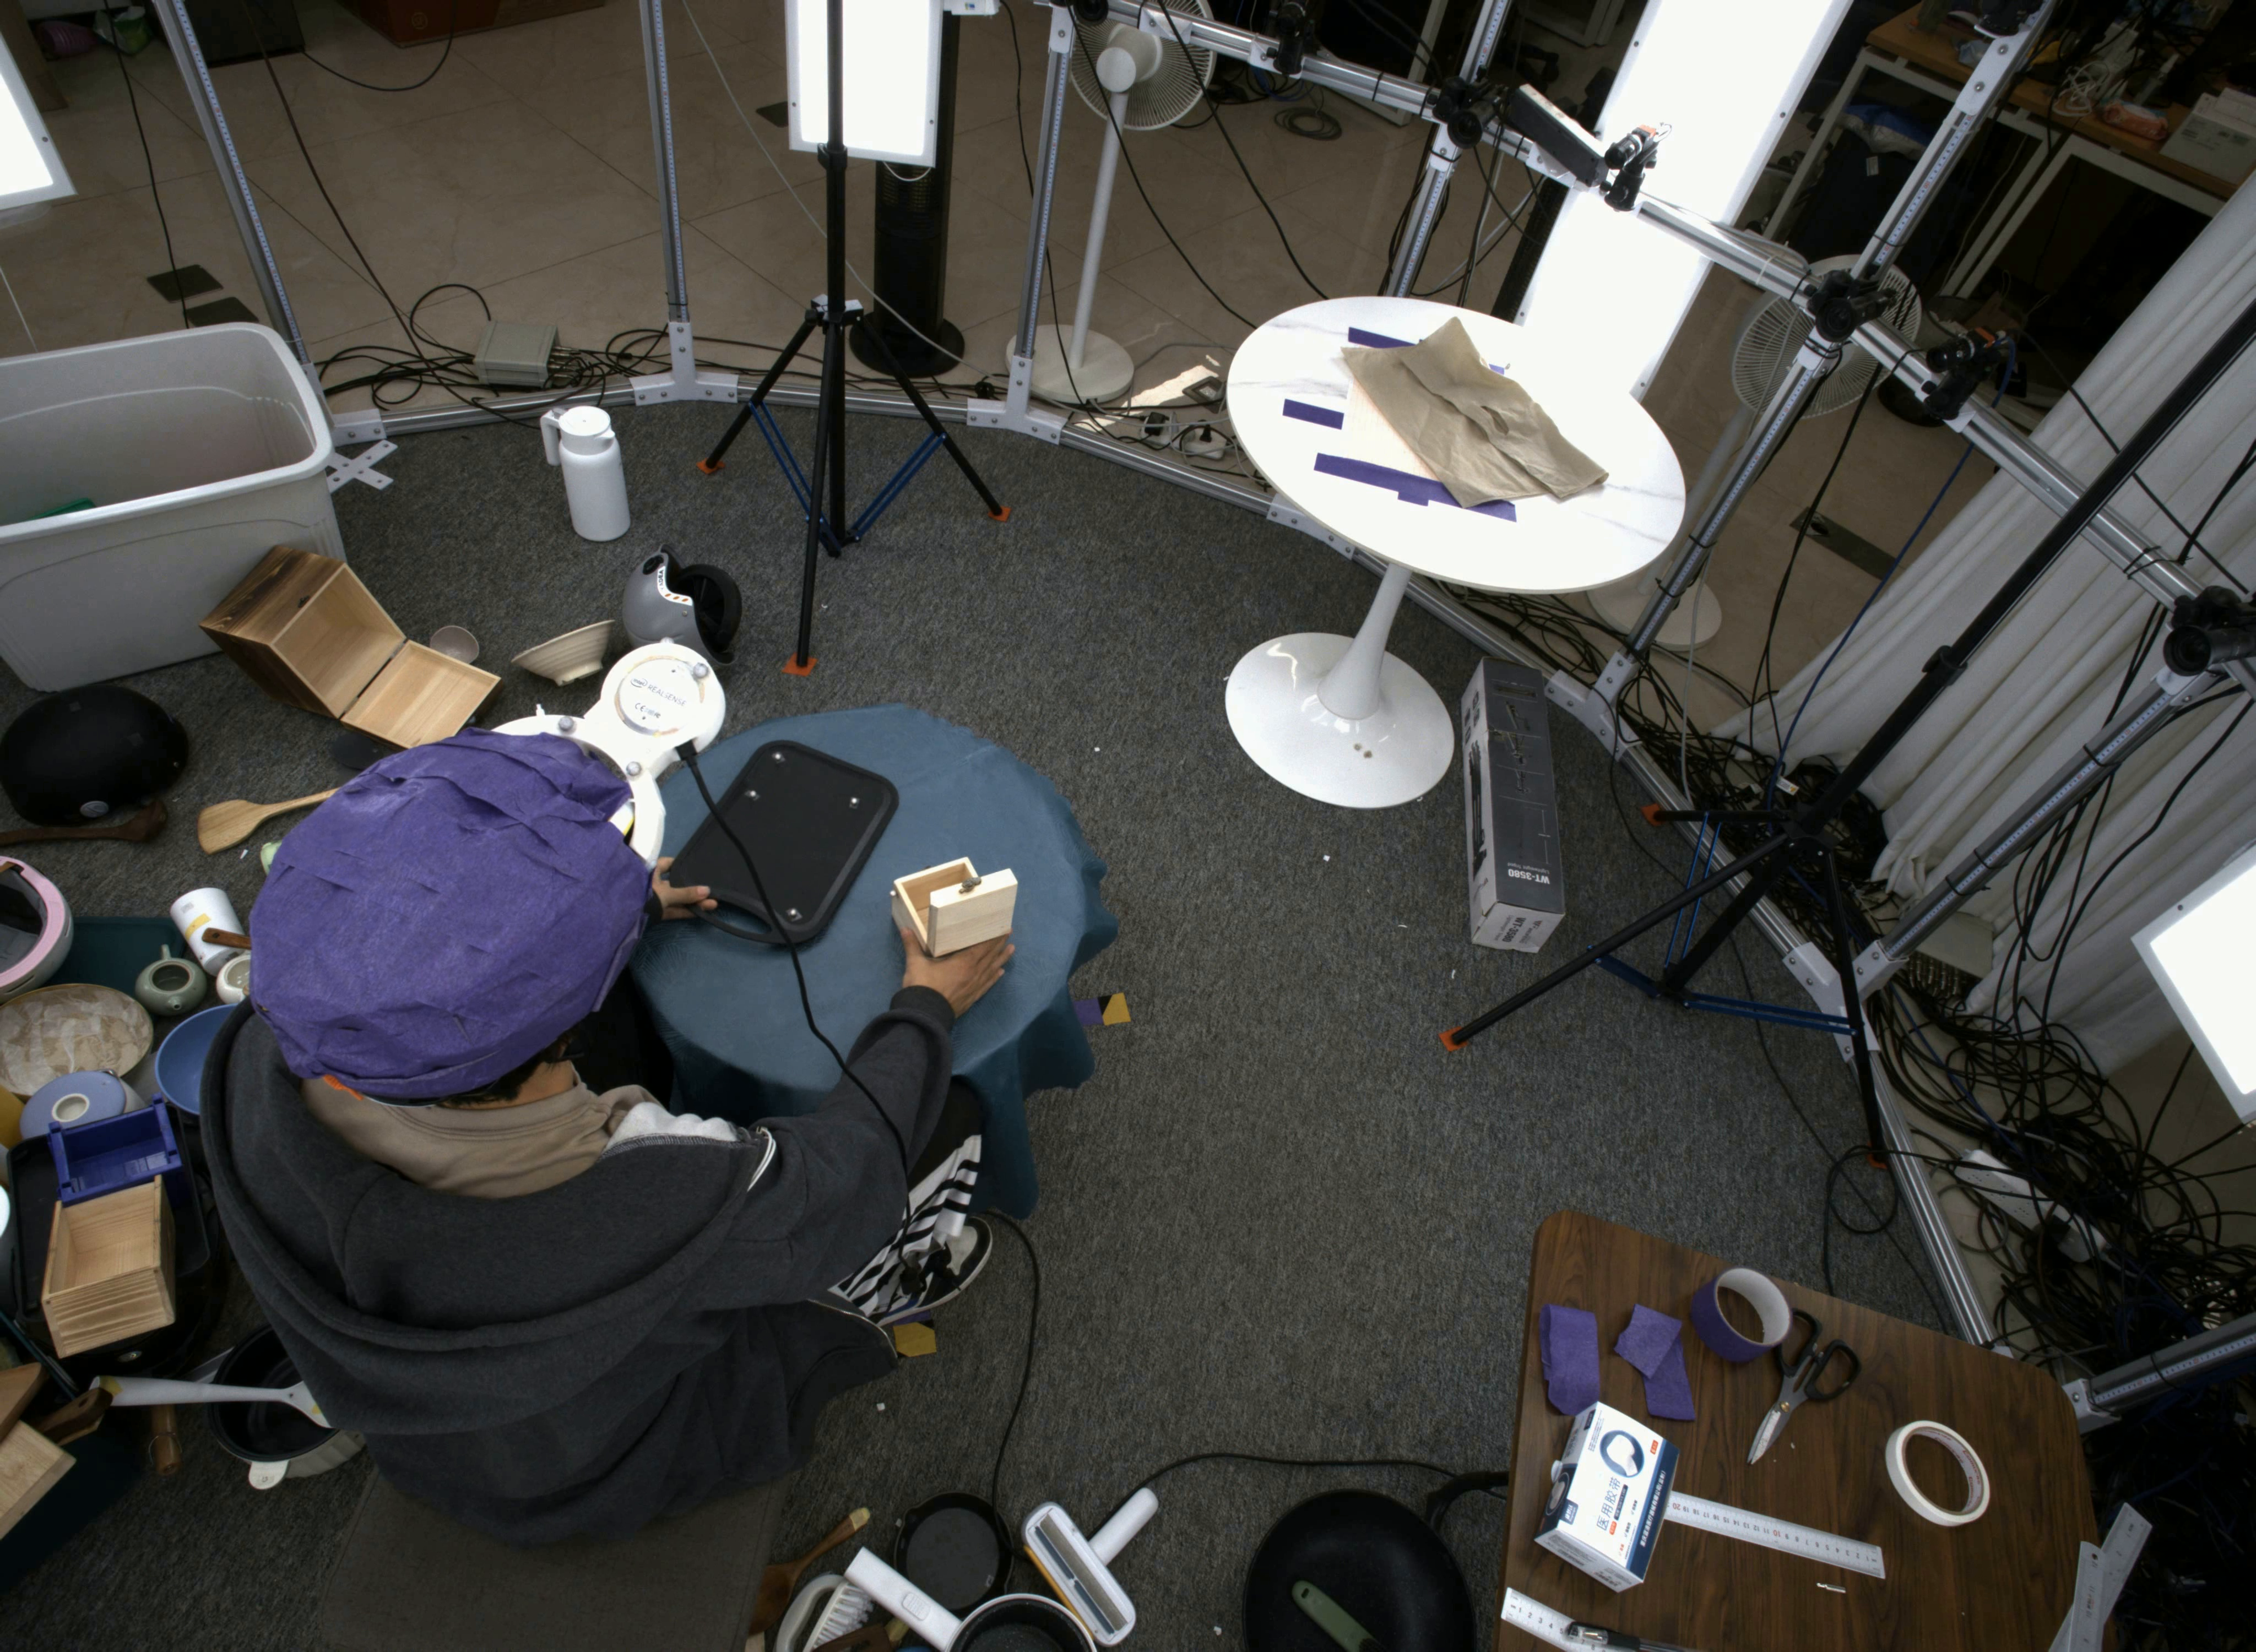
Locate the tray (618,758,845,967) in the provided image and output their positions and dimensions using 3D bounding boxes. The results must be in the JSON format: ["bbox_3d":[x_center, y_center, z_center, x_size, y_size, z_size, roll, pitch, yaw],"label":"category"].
[{"bbox_3d":[-0.507,0.041,1.657,0.210,0.010,0.321,20,48,-2],"label":"tray"}]

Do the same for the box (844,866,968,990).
[{"bbox_3d":[-0.273,0.099,1.575,0.103,0.188,0.131,-23,62,-27],"label":"box"}]
